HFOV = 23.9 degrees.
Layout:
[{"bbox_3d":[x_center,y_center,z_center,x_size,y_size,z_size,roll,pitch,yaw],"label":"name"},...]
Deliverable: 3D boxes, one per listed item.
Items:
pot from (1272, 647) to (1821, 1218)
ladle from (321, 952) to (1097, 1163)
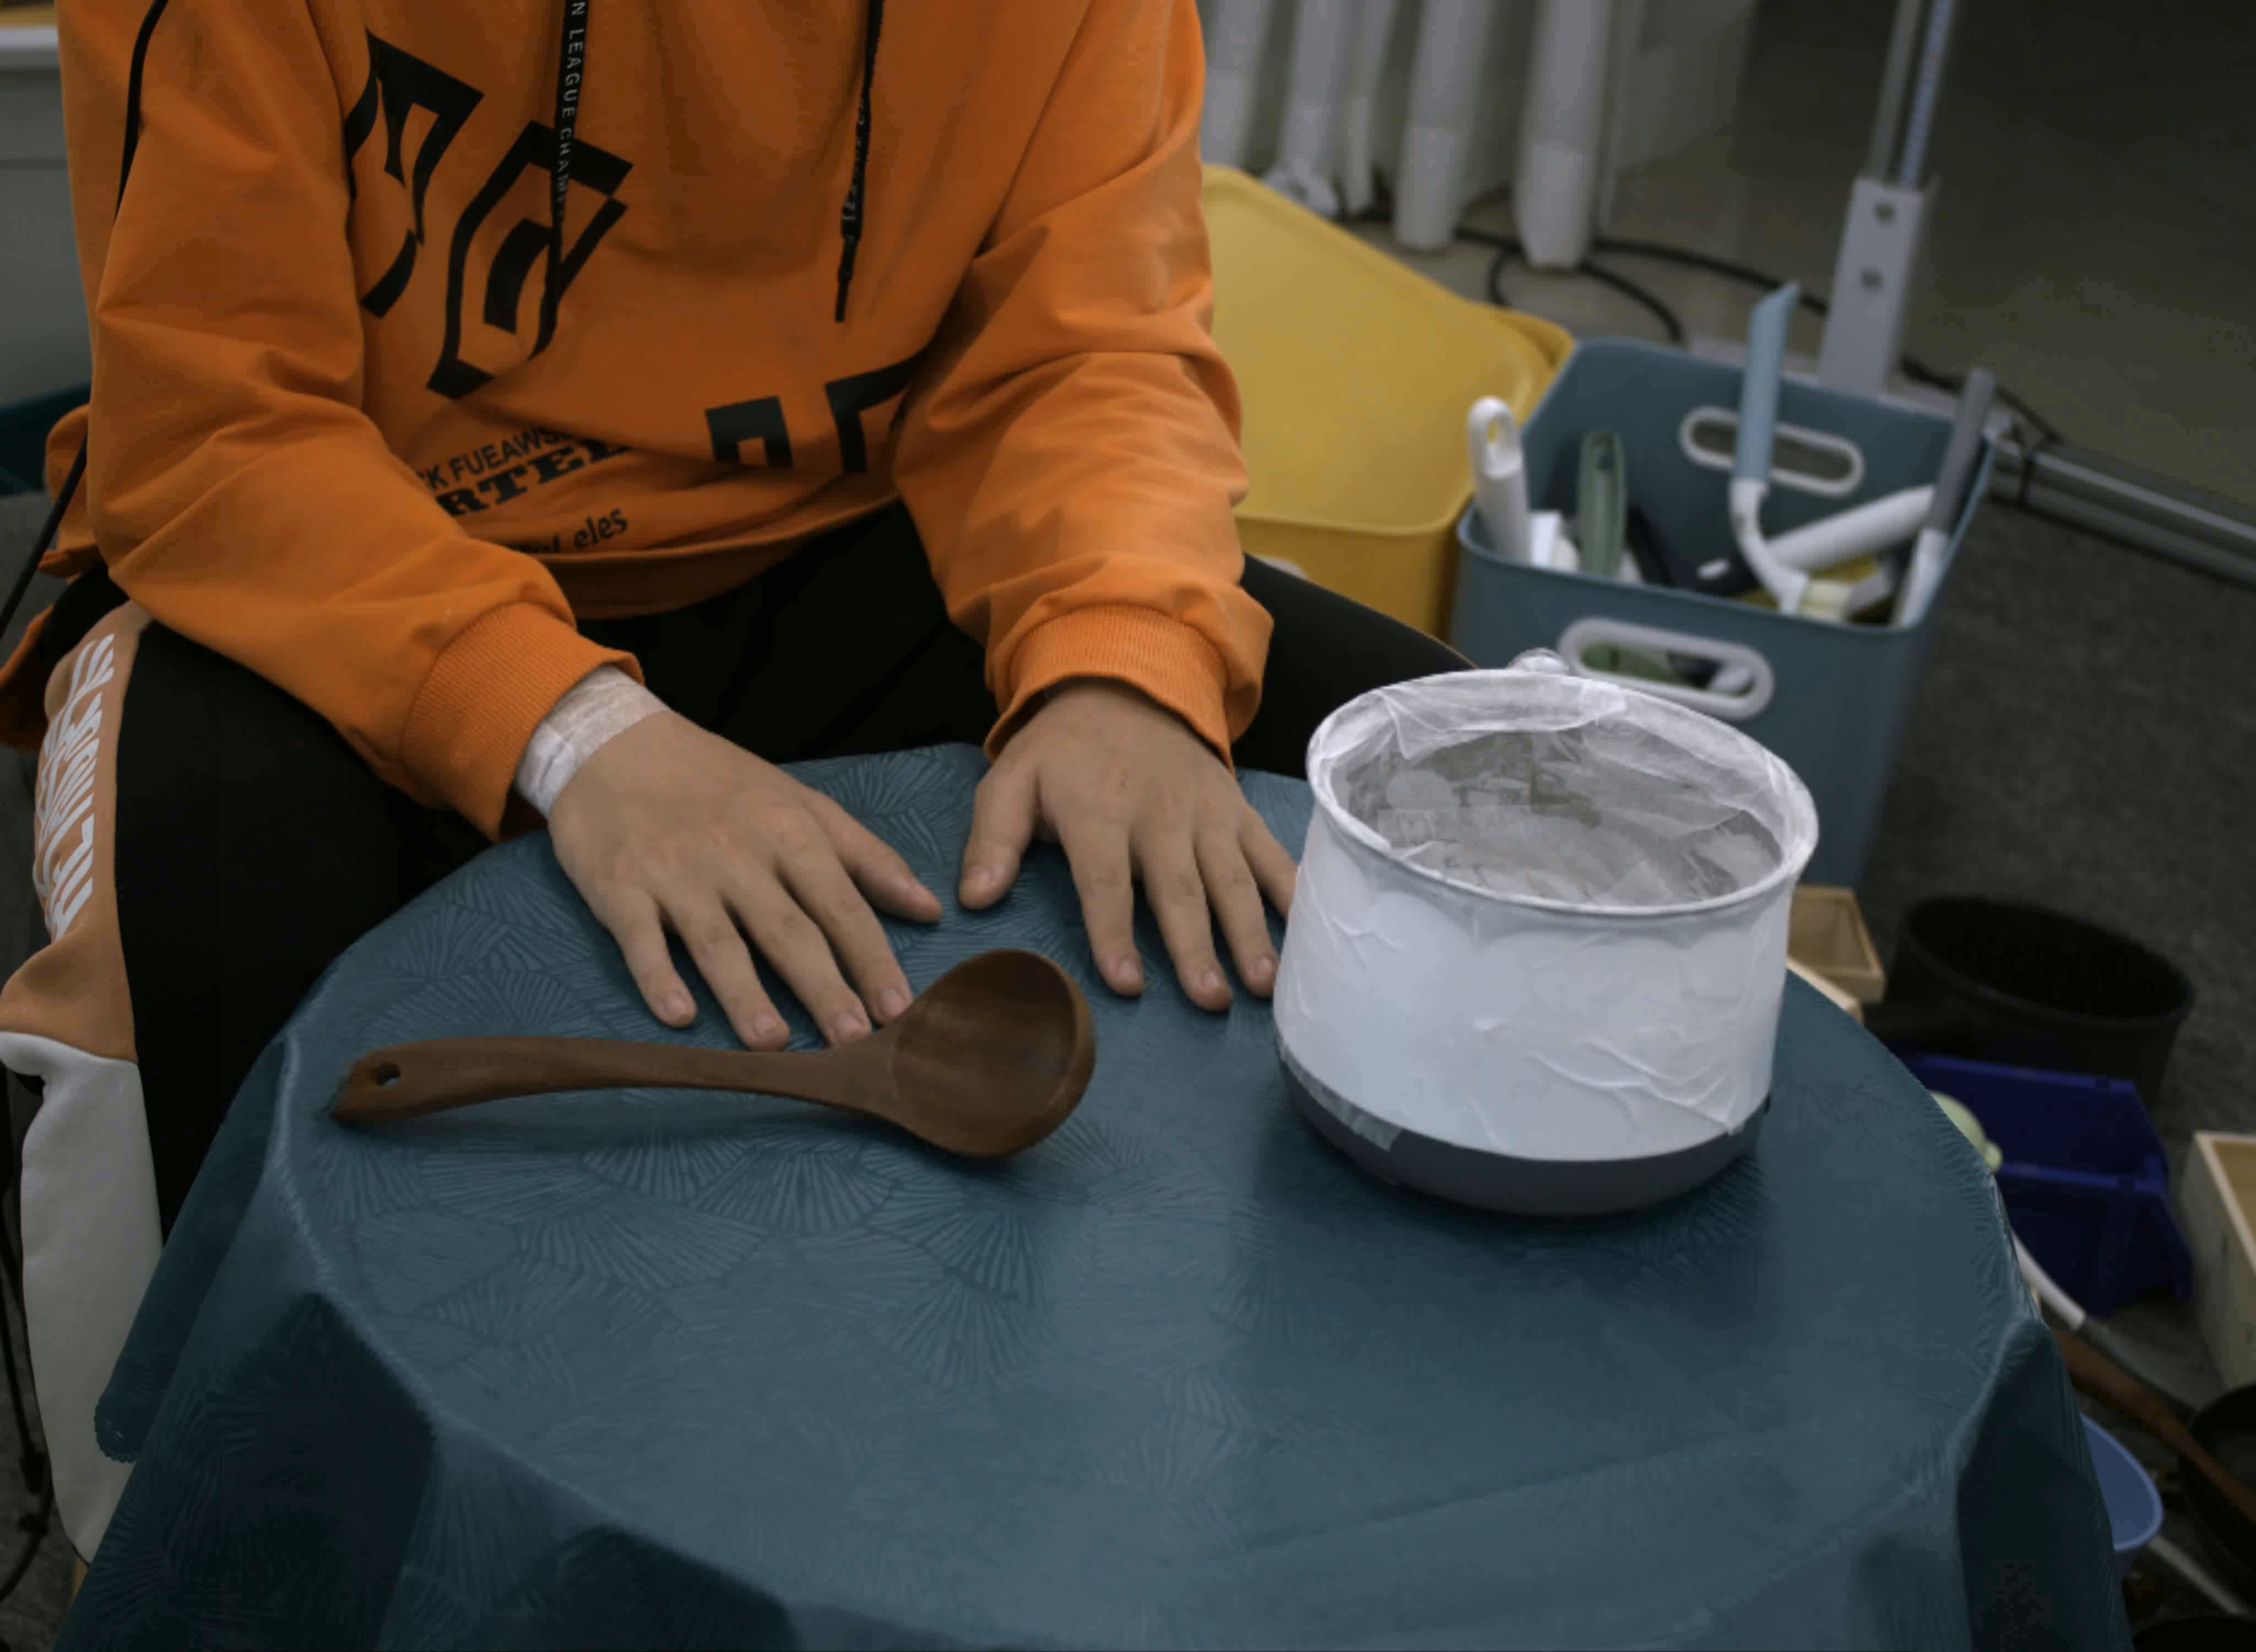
[{"bbox_3d":[0.140,0.030,1.867,0.178,0.136,0.235,5,27,-4],"label":"pot"},{"bbox_3d":[-0.140,0.078,1.795,0.259,0.065,0.077,1,53,-11],"label":"ladle"}]
